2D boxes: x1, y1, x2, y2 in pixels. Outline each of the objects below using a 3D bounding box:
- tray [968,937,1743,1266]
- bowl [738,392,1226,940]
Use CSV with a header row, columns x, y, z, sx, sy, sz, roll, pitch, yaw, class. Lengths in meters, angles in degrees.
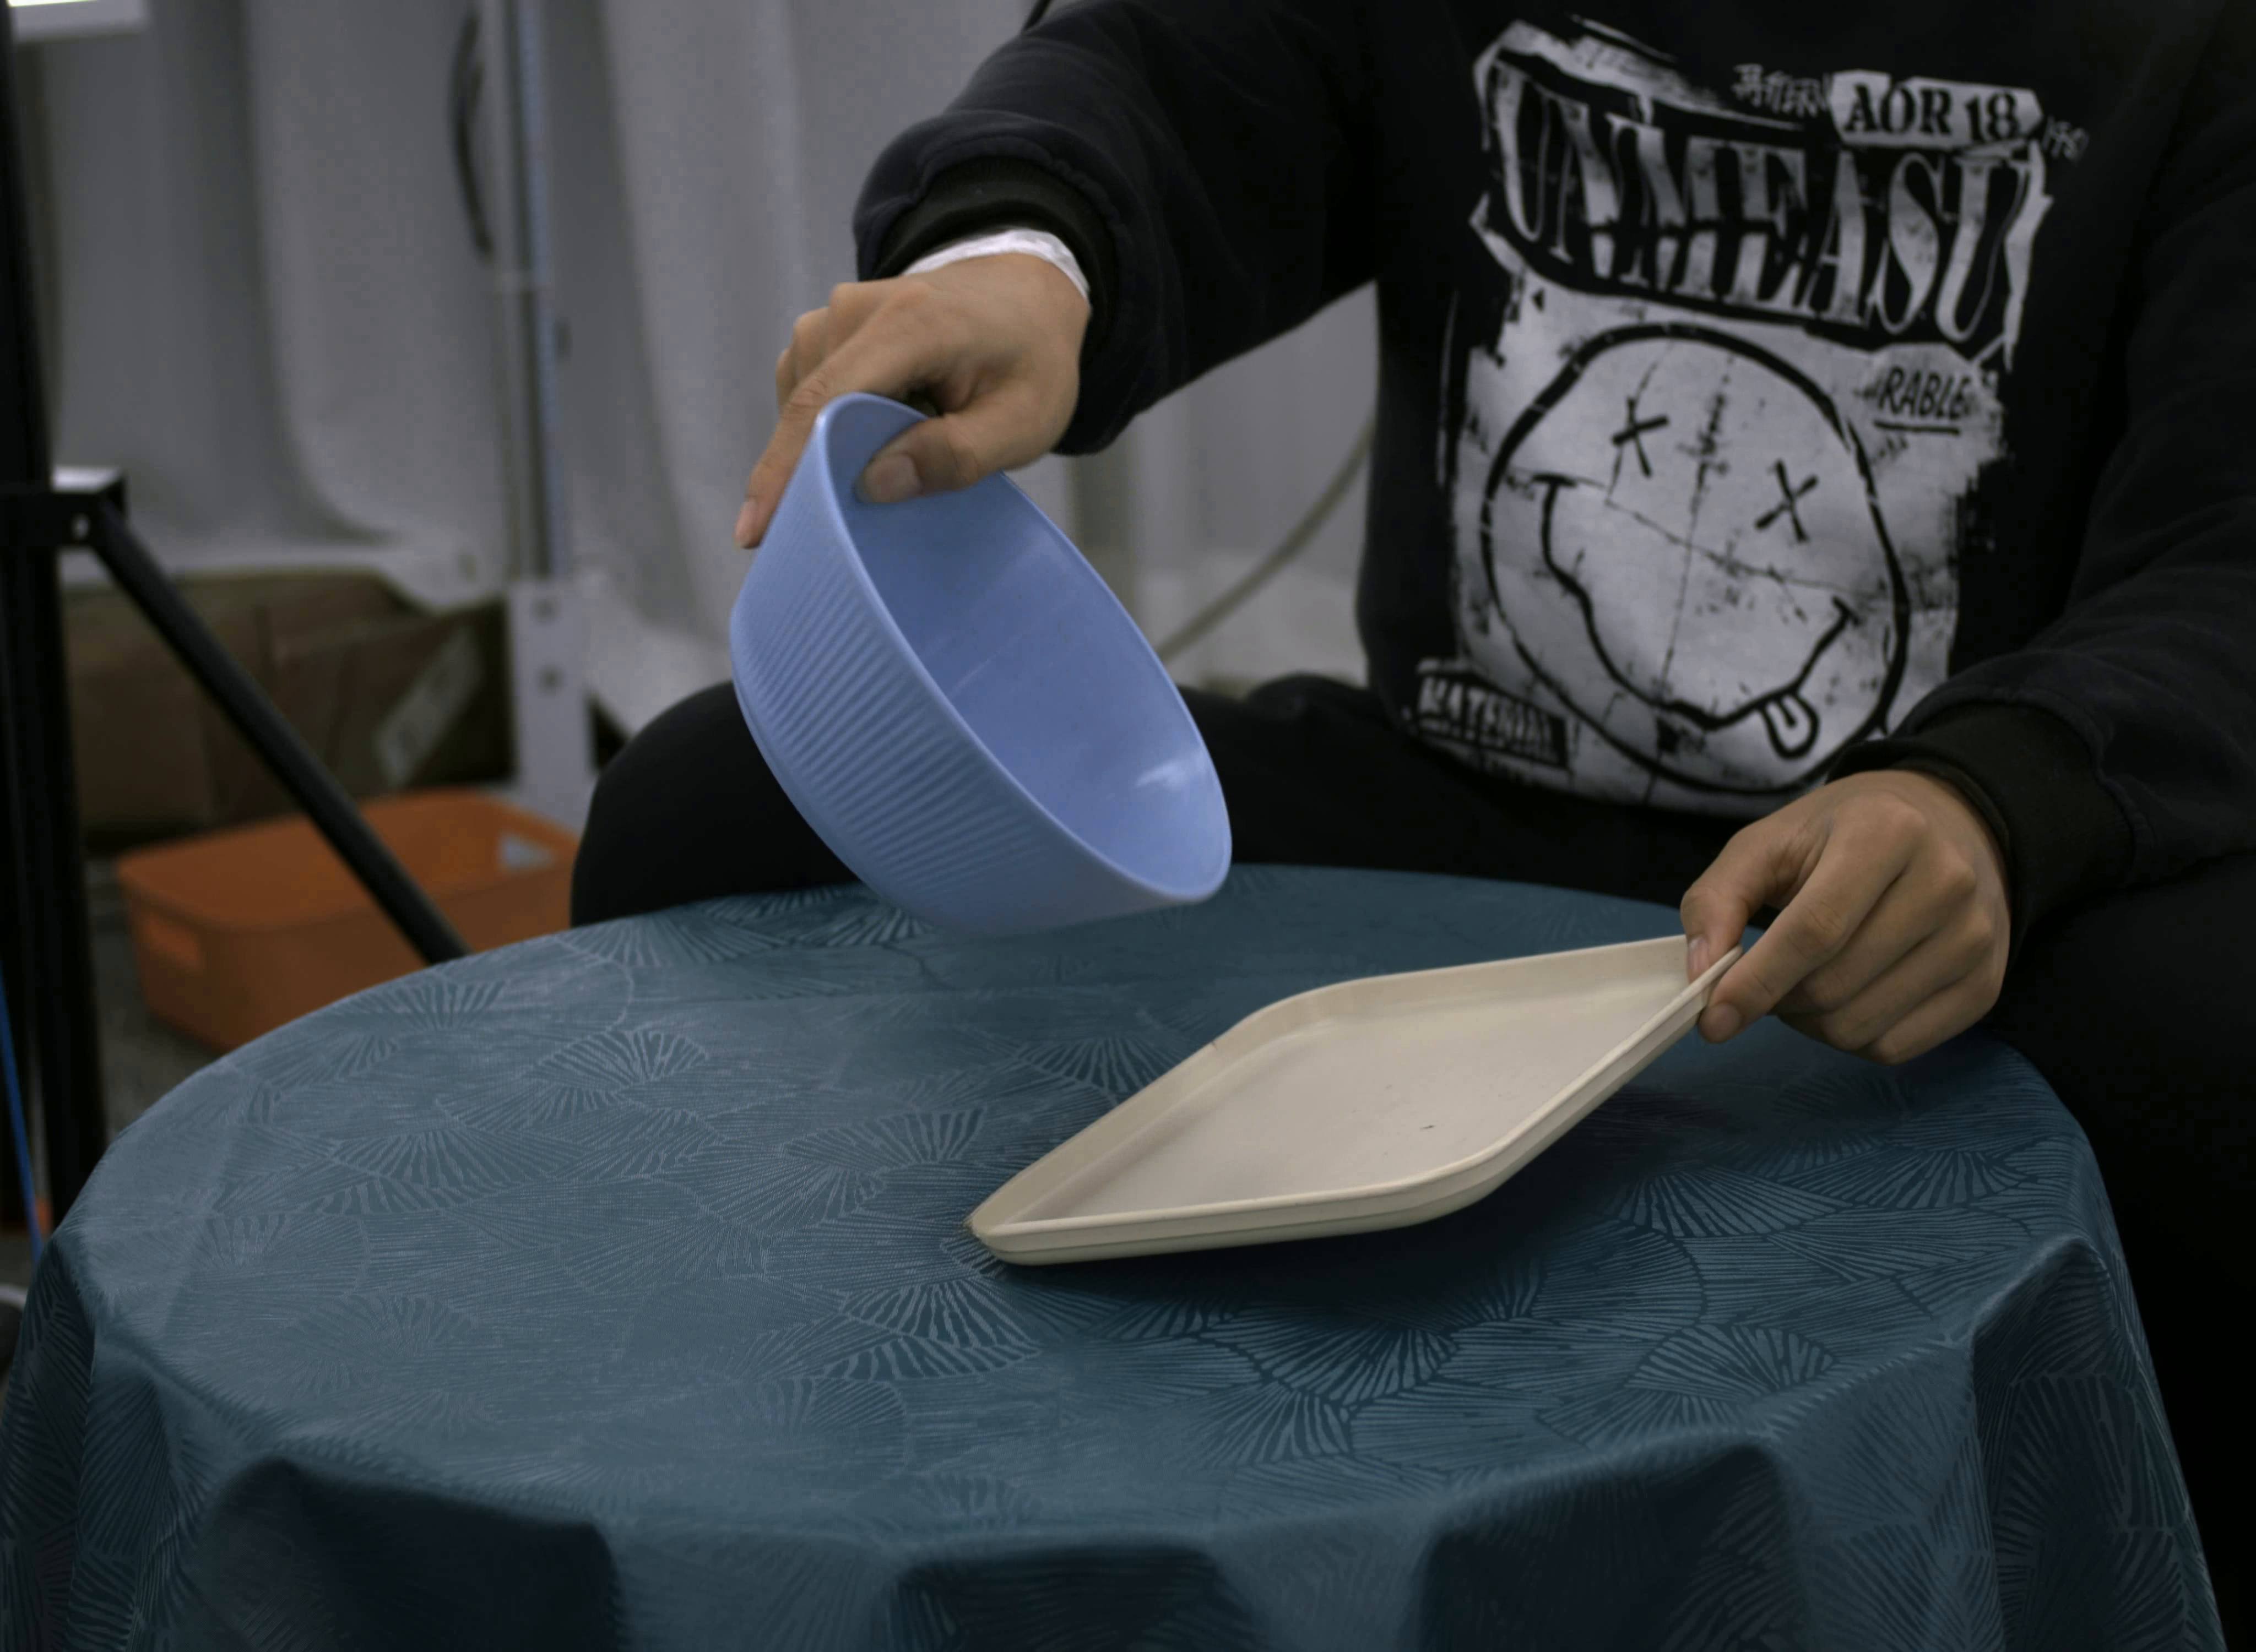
x,y,z,sx,sy,sz,roll,pitch,yaw,class
0.071,0.081,1.550,0.174,0.017,0.236,-8,12,31,tray
-0.051,-0.034,1.521,0.071,0.175,0.175,-36,6,18,bowl
